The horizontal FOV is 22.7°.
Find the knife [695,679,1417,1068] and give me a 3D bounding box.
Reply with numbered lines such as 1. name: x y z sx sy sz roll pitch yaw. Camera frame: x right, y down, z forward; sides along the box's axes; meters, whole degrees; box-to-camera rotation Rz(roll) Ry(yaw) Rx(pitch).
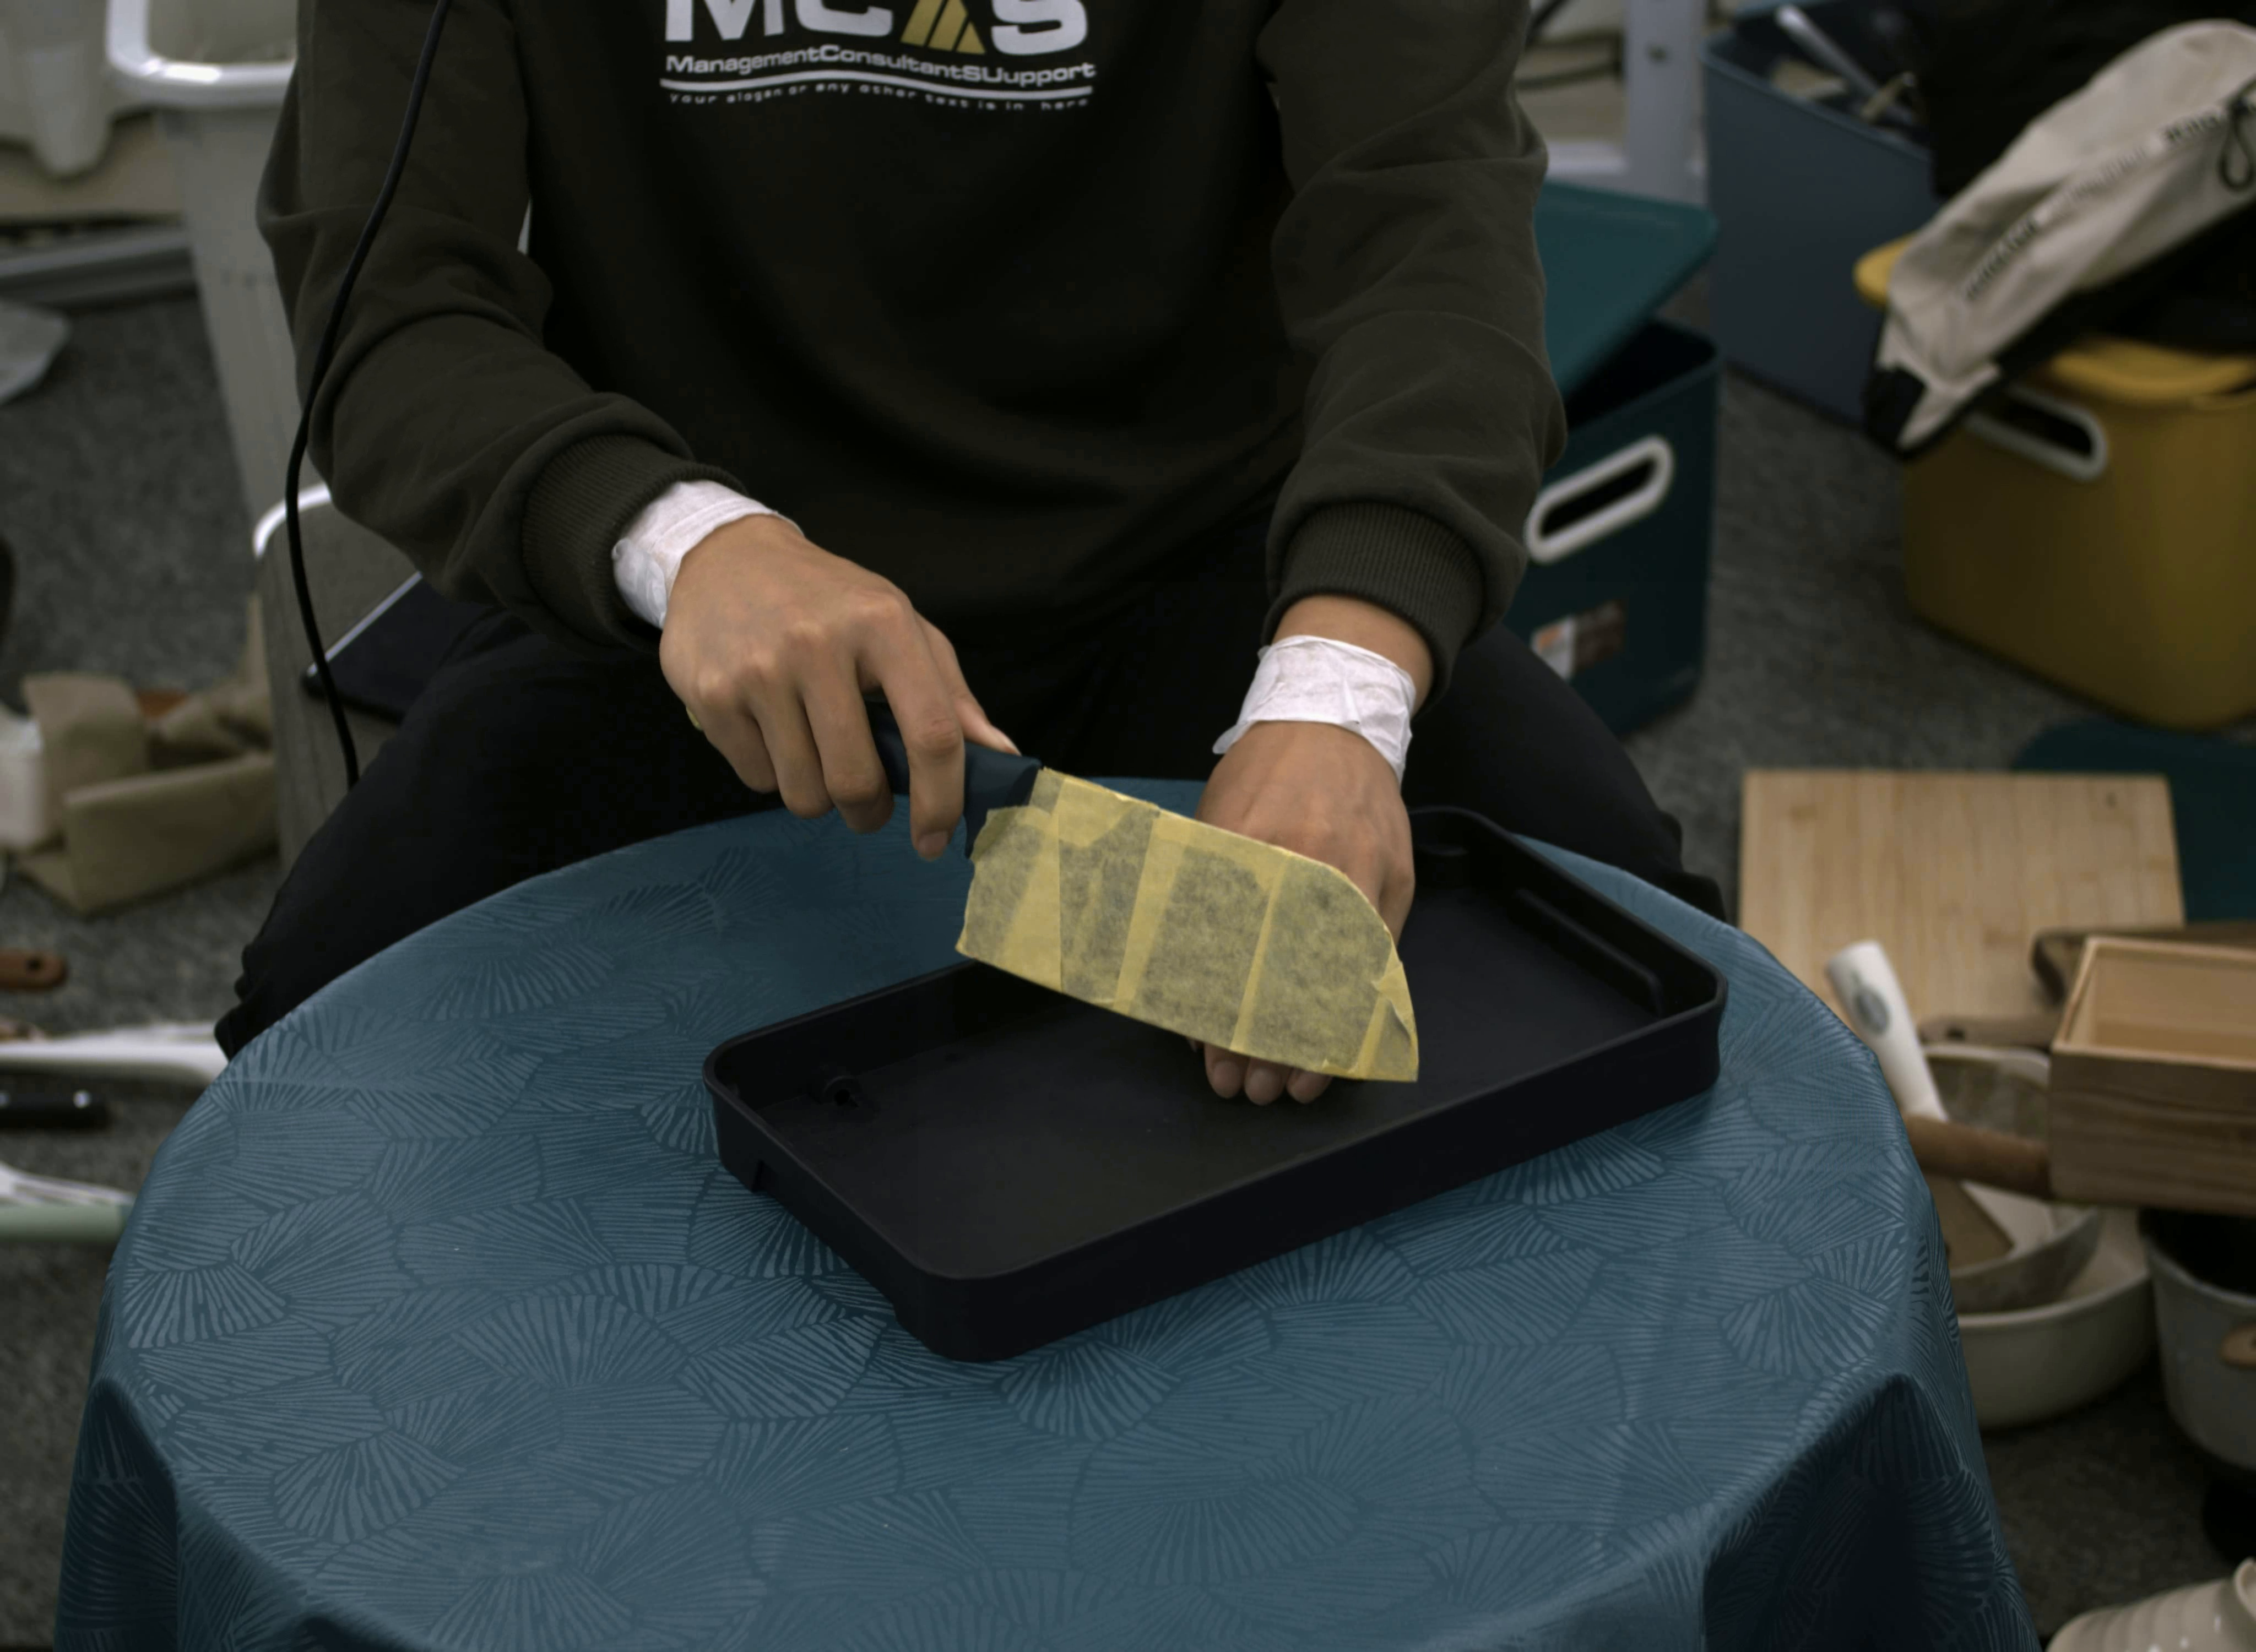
1. knife: -0.028 0.014 1.913 0.289 0.081 0.027 22 10 22

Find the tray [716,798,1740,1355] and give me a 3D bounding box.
1. tray: 0.035 0.079 1.900 0.320 0.036 0.185 -19 31 -29
